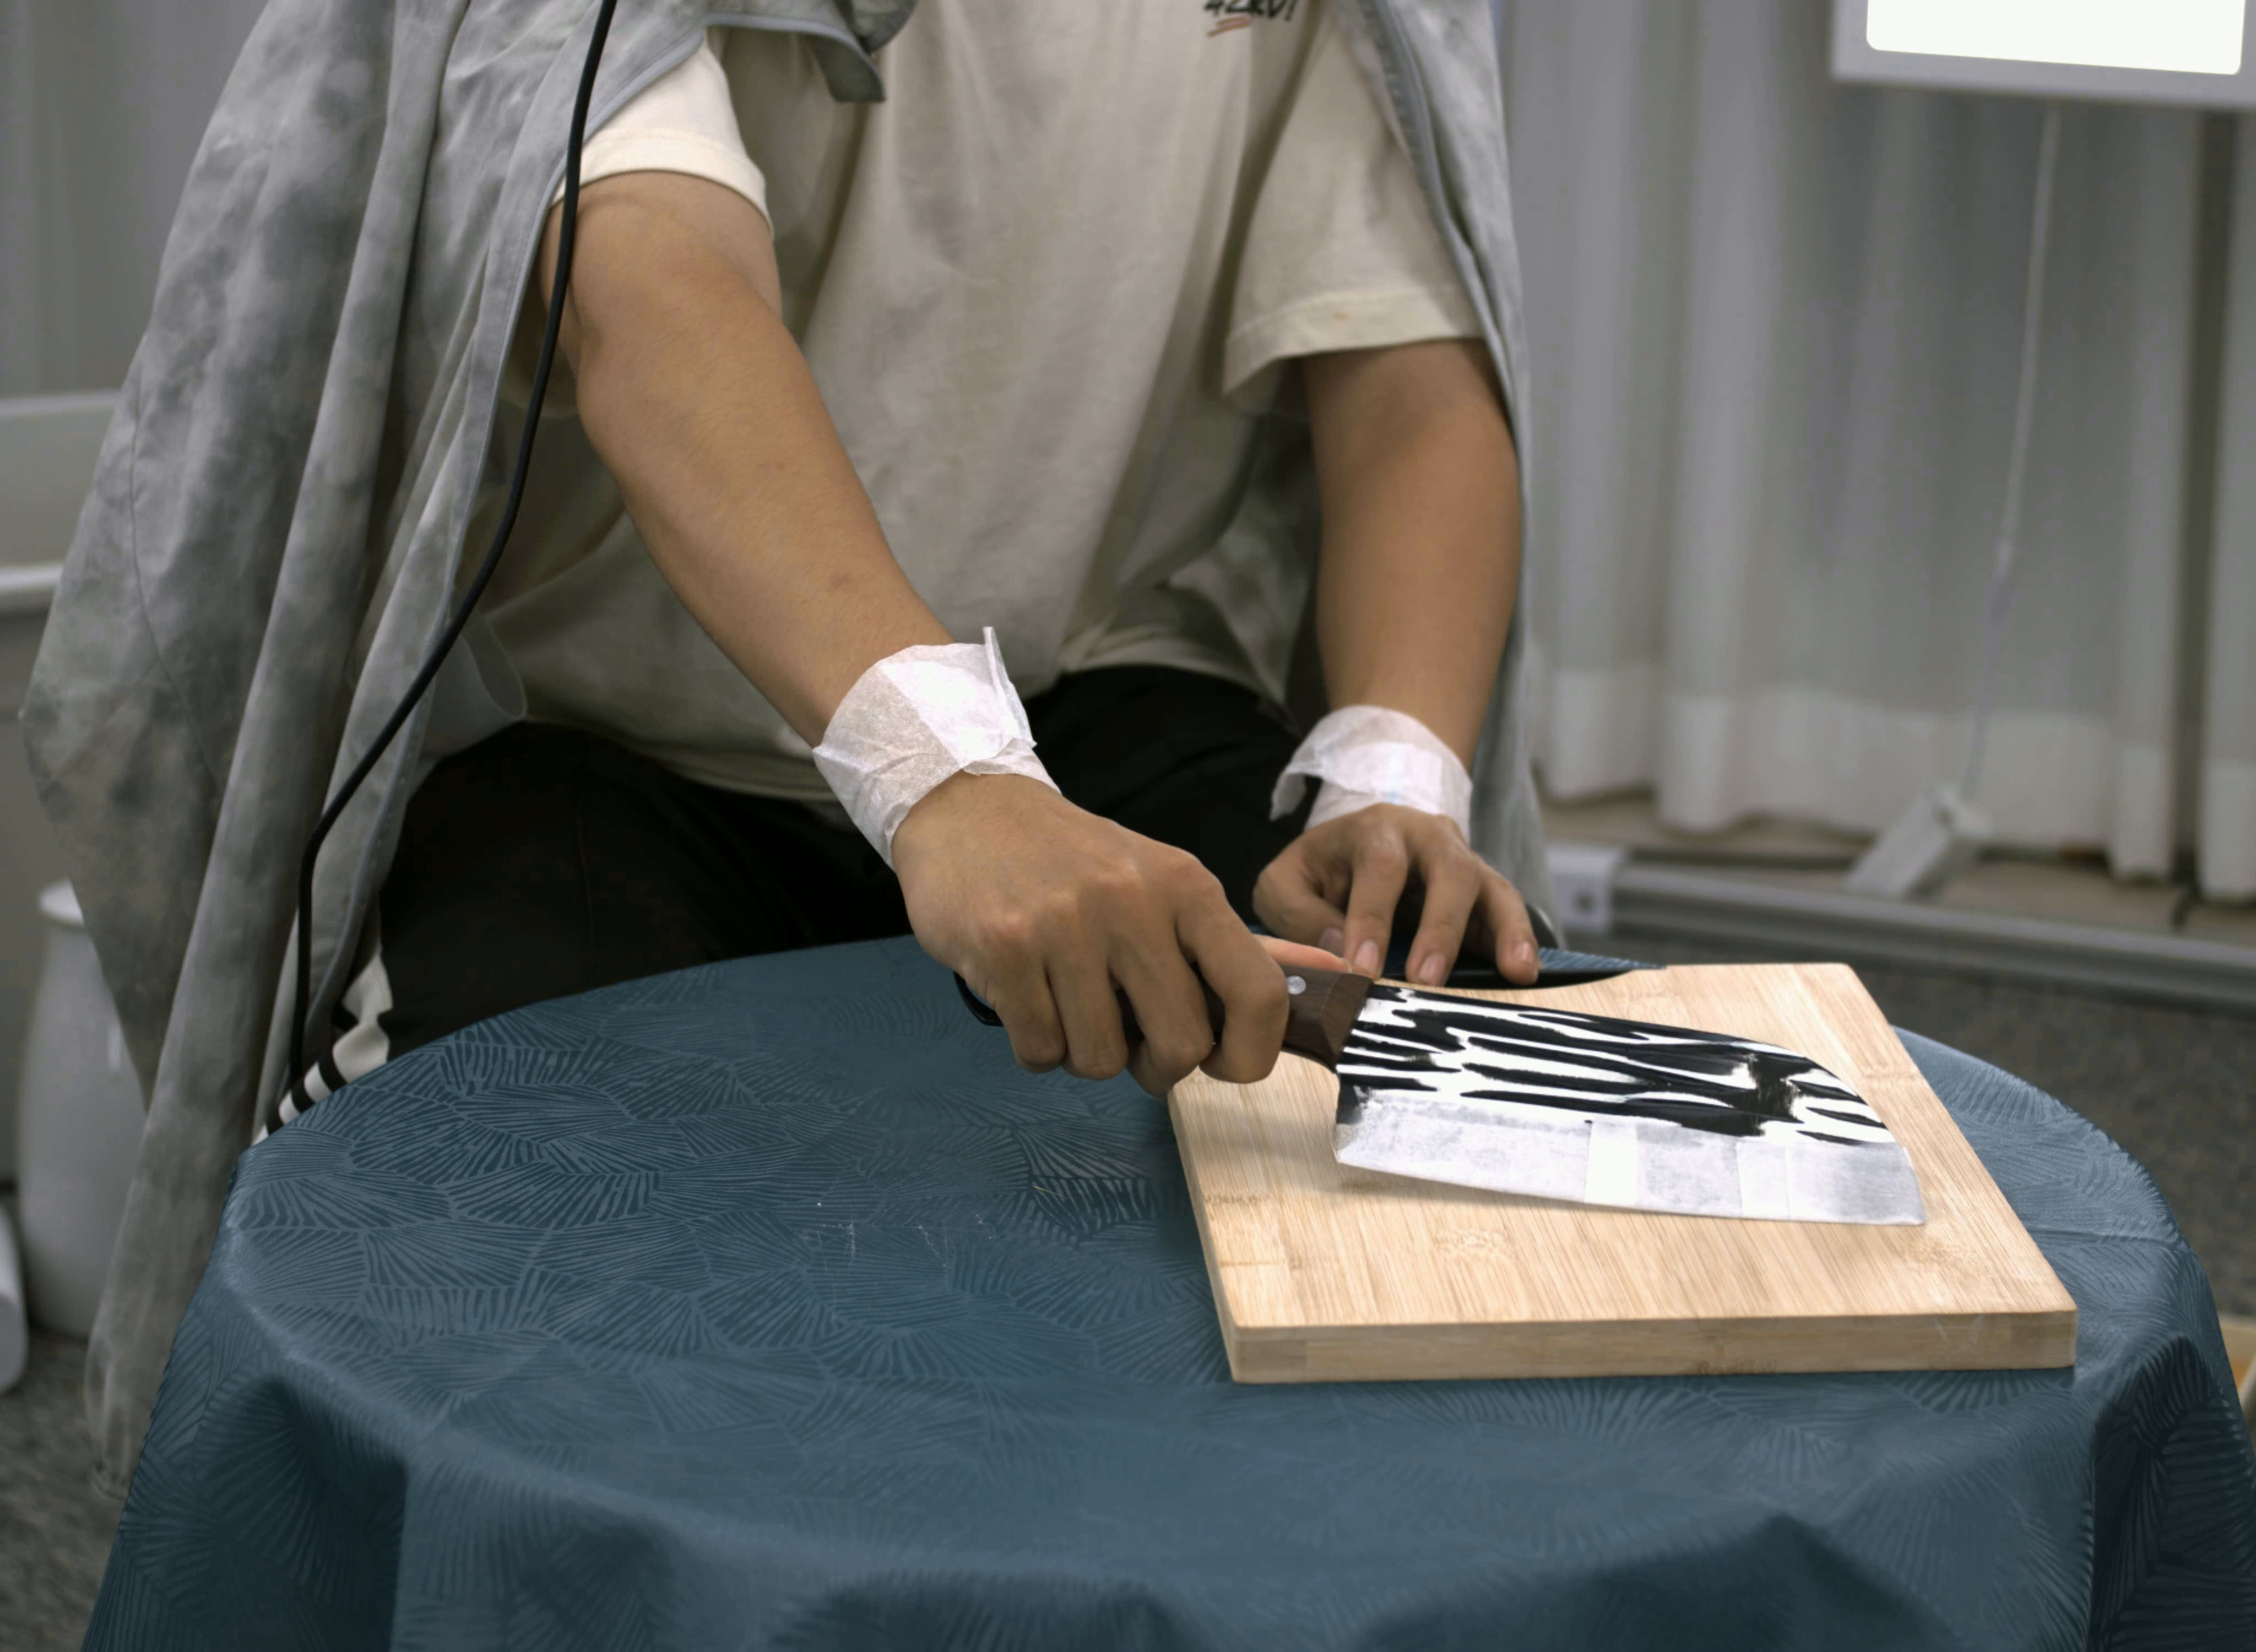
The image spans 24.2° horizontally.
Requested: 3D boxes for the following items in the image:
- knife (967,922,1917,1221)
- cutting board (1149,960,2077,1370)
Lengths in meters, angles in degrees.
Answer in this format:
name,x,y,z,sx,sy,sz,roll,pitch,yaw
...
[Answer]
name,x,y,z,sx,sy,sz,roll,pitch,yaw
knife,0.091,0.075,1.586,0.298,0.024,0.068,9,54,8
cutting board,0.137,0.101,1.643,0.250,0.024,0.346,0,15,-5
